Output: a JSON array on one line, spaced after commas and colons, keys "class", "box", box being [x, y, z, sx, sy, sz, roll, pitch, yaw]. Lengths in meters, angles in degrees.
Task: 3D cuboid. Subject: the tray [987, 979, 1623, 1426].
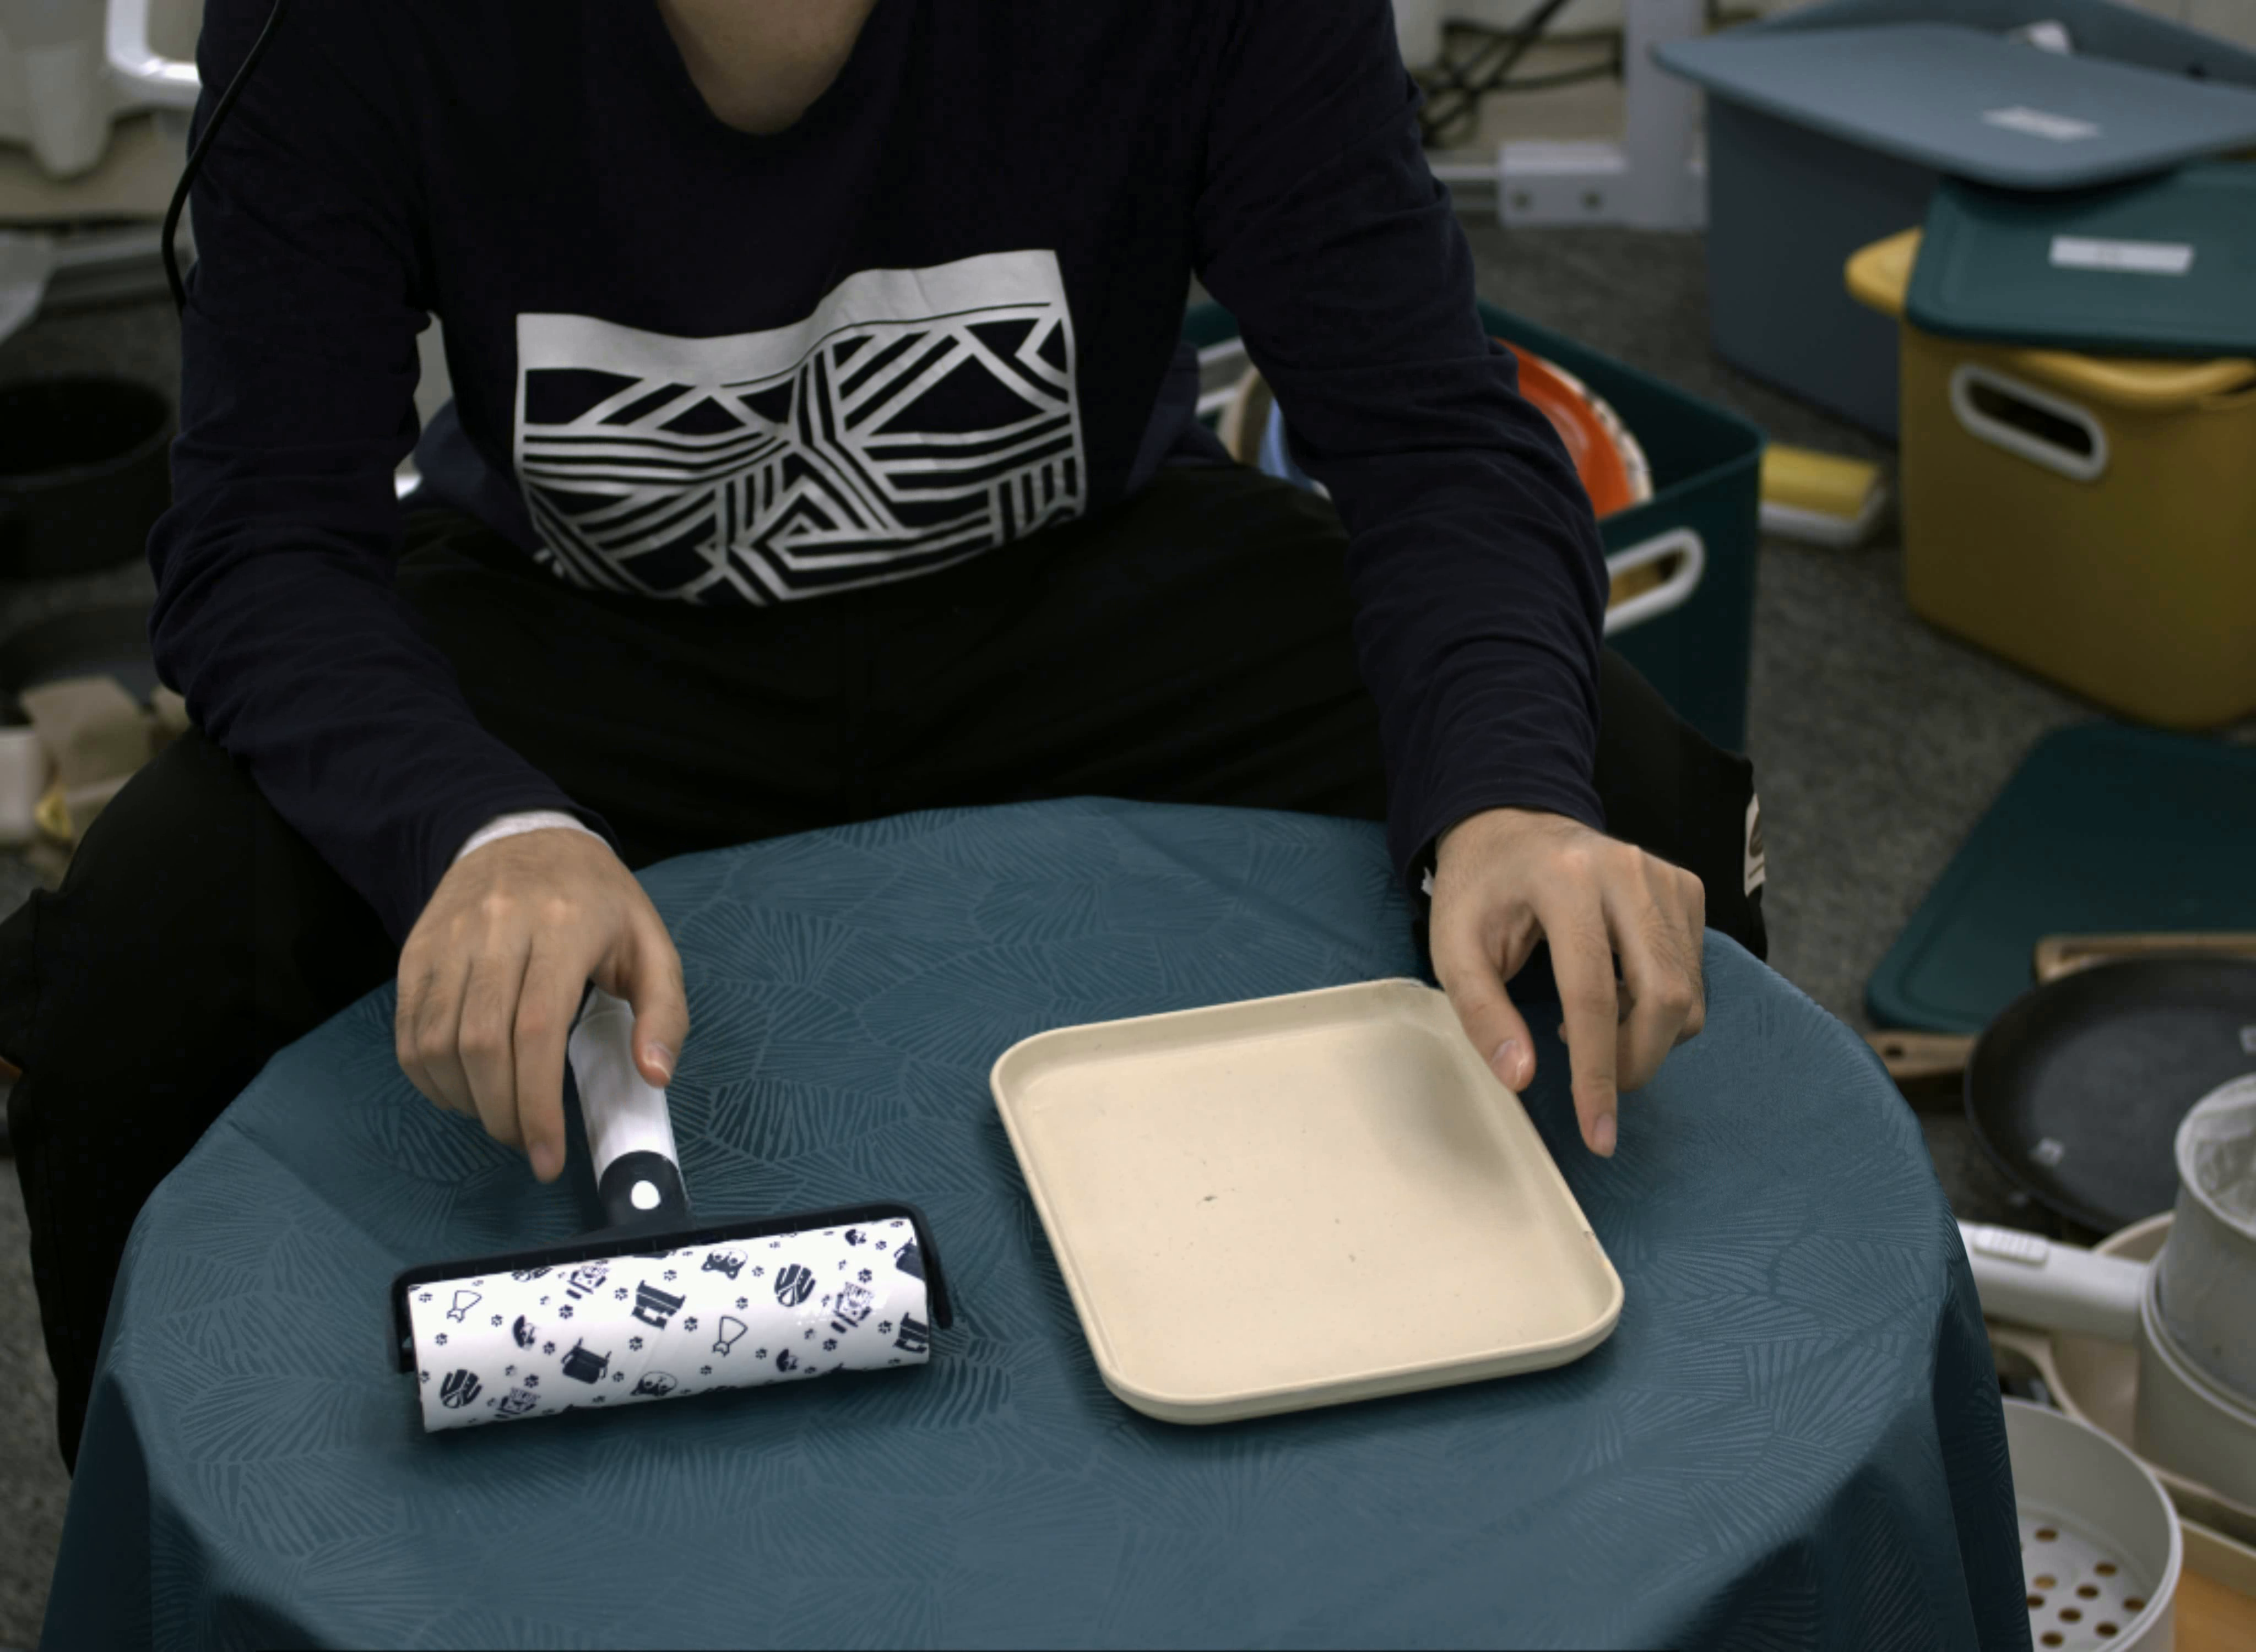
[{"class": "tray", "box": [0.054, 0.121, 1.837, 0.171, 0.017, 0.242, -9, 28, -9]}]

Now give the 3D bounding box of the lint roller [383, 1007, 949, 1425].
[{"class": "lint roller", "box": [-0.164, 0.113, 1.848, 0.176, 0.050, 0.249, -8, 25, -9]}]
